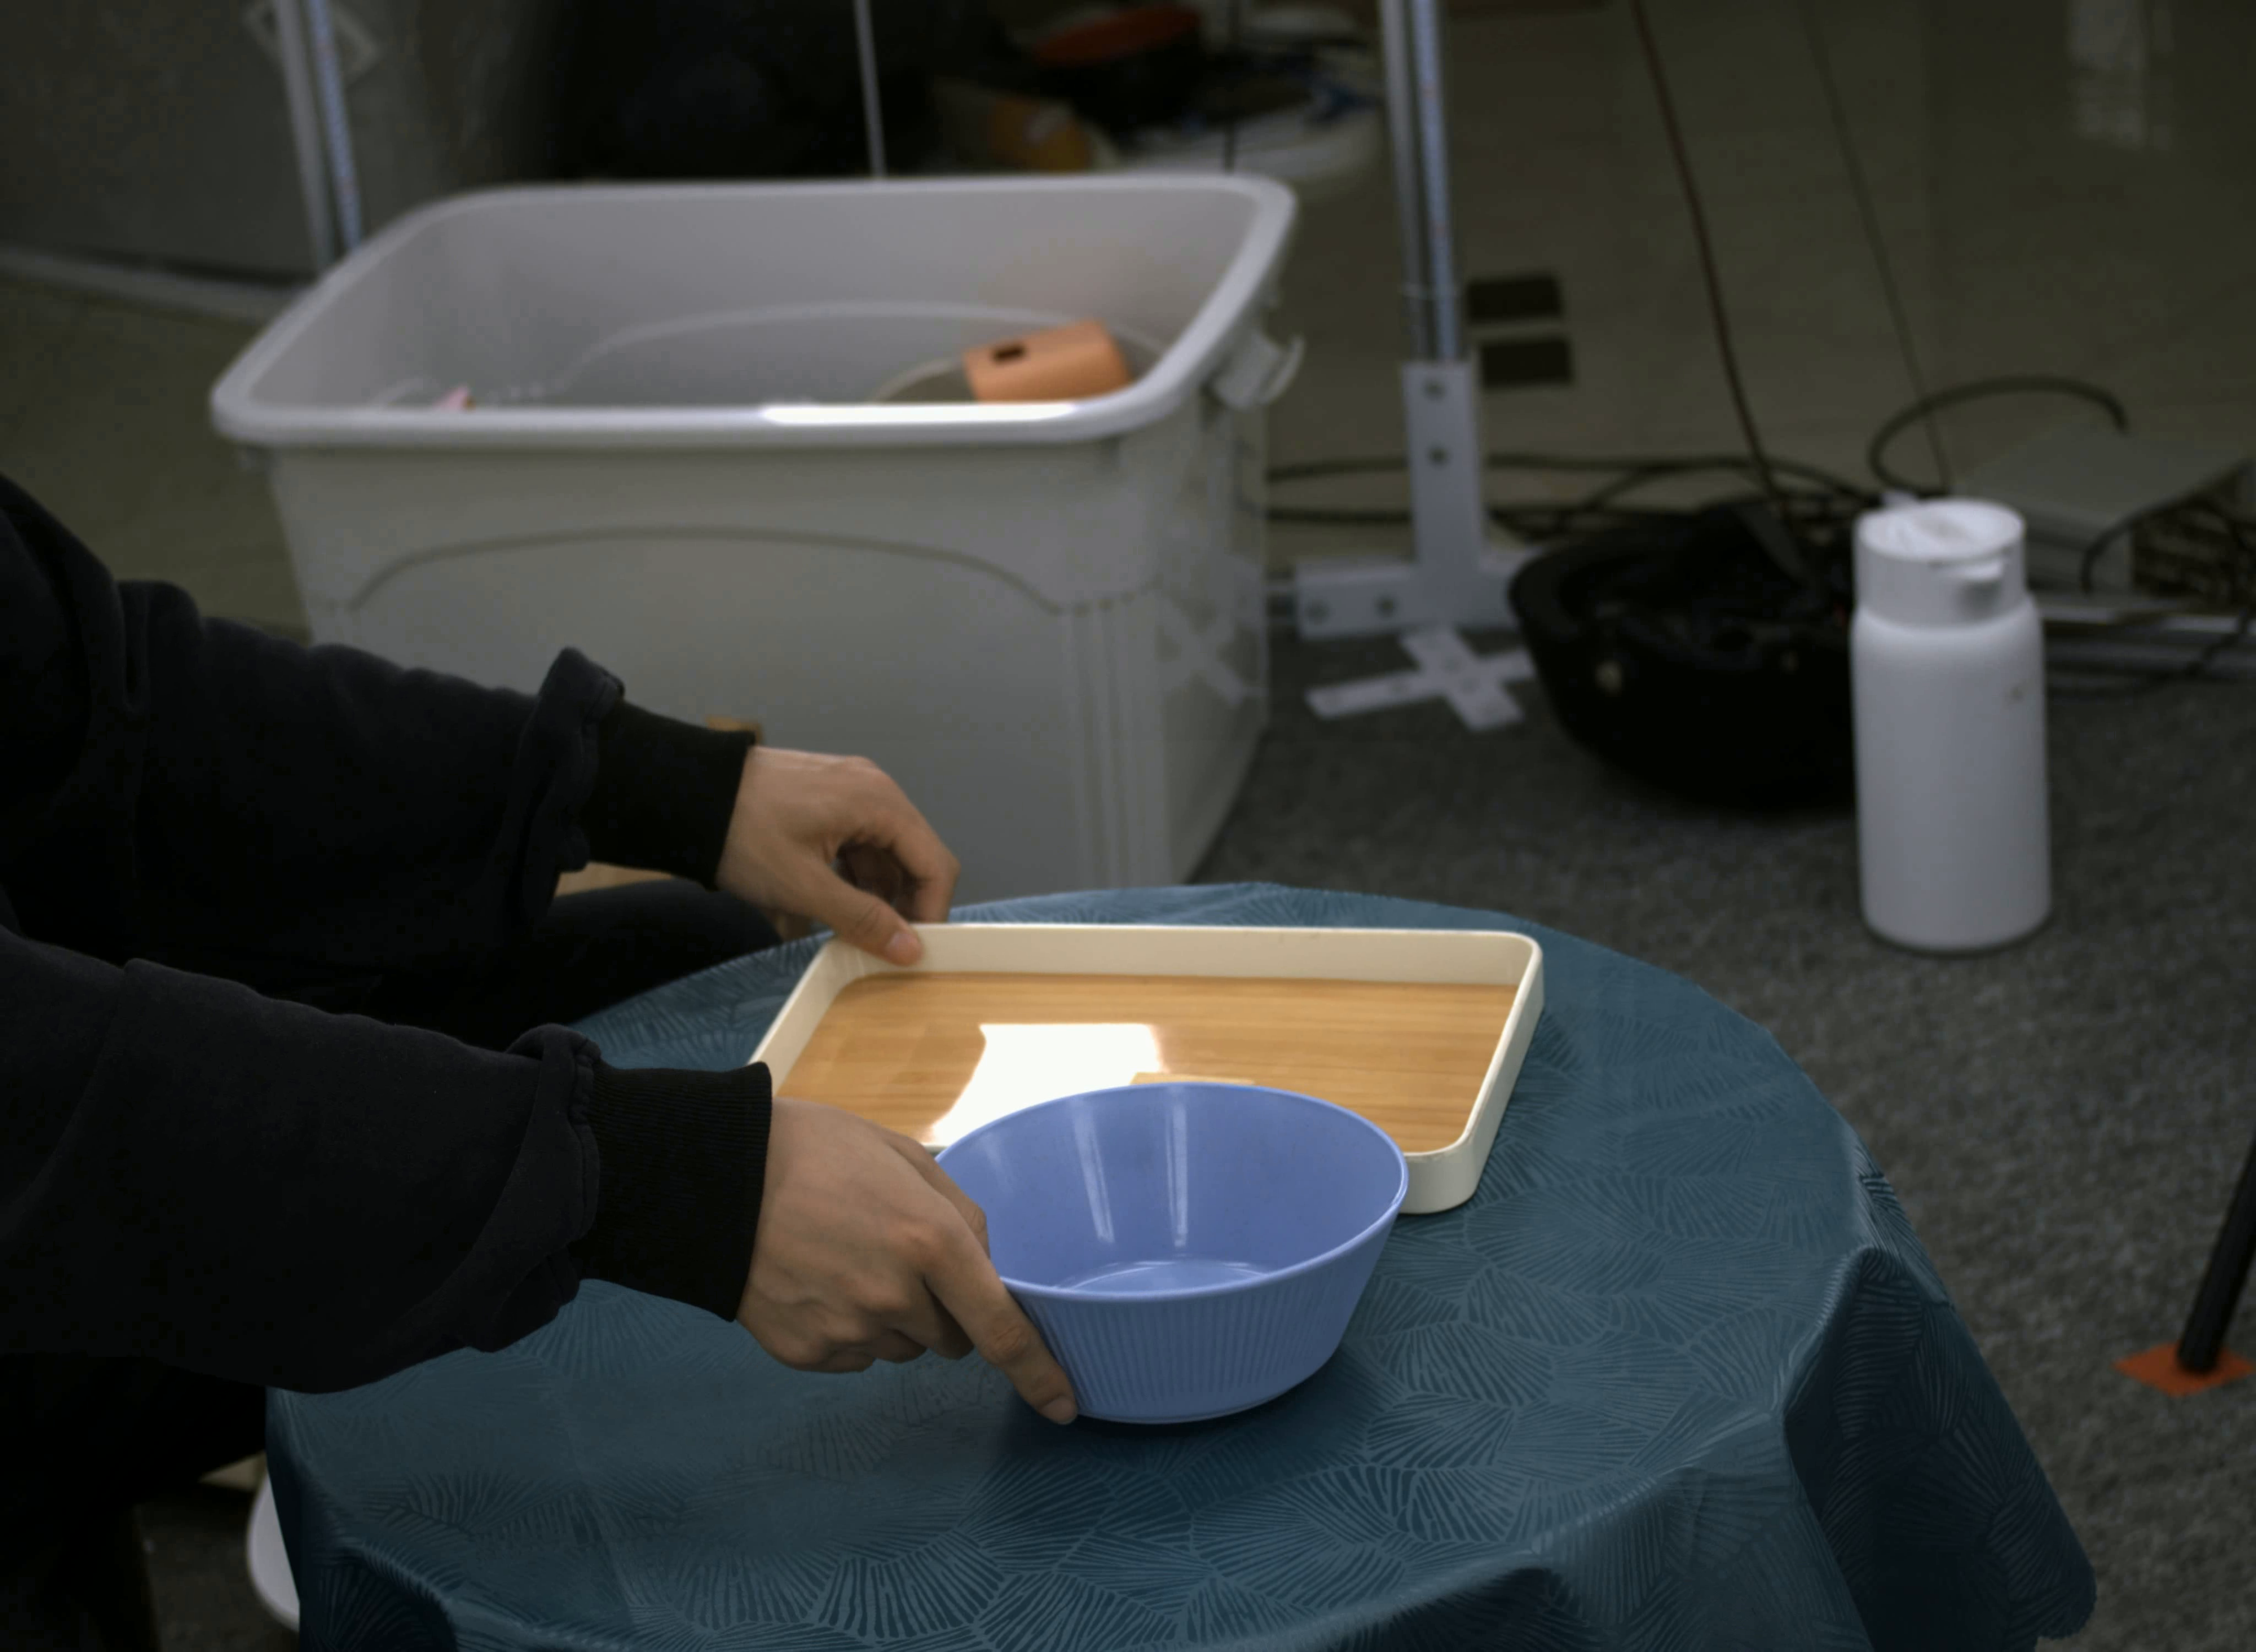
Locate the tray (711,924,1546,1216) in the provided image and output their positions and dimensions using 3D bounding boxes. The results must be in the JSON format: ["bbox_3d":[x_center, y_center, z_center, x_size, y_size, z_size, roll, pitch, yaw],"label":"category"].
[{"bbox_3d":[0.003,0.094,2.219,0.299,0.028,0.189,1,26,15],"label":"tray"}]

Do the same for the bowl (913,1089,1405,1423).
[{"bbox_3d":[0.013,0.158,2.017,0.176,0.071,0.174,-3,22,1],"label":"bowl"}]
